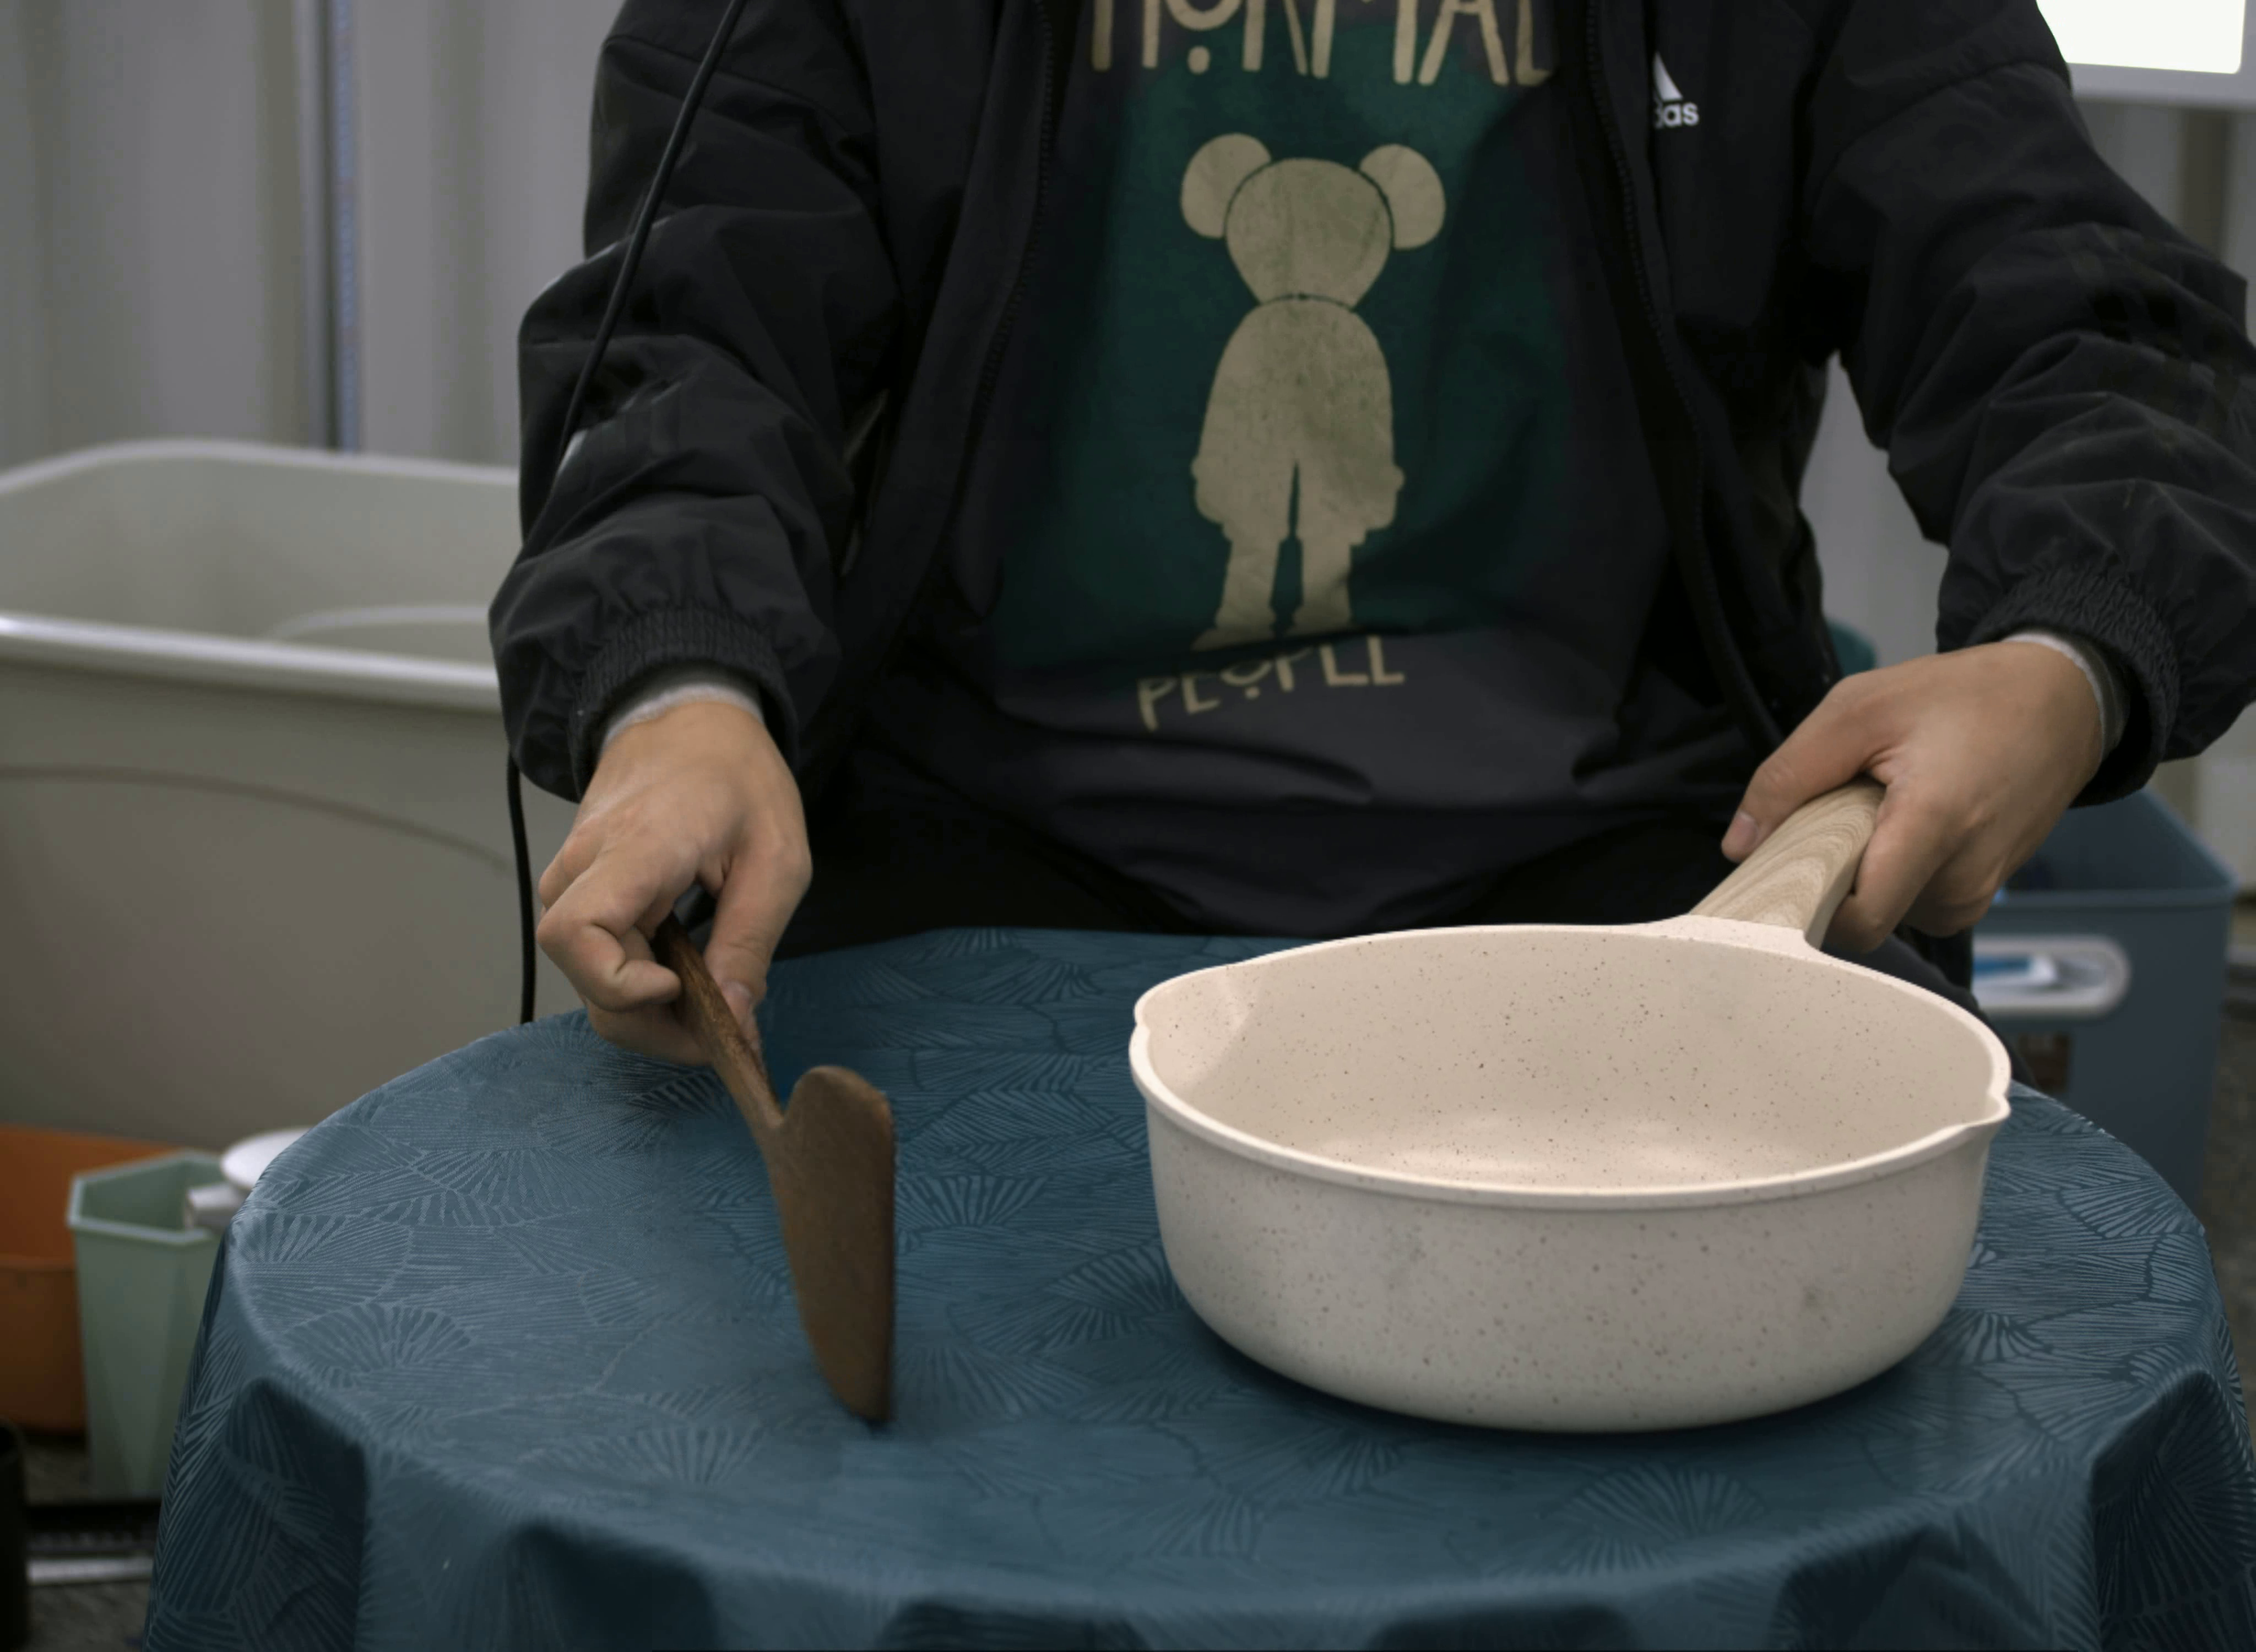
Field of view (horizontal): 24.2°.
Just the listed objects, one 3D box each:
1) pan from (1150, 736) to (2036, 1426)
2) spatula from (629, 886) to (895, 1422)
[{"bbox_3d":[0.172,0.071,1.588,0.260,0.103,0.436,6,17,26],"label":"pan"},{"bbox_3d":[-0.115,0.075,1.583,0.016,0.097,0.382,0,14,-14],"label":"spatula"}]
